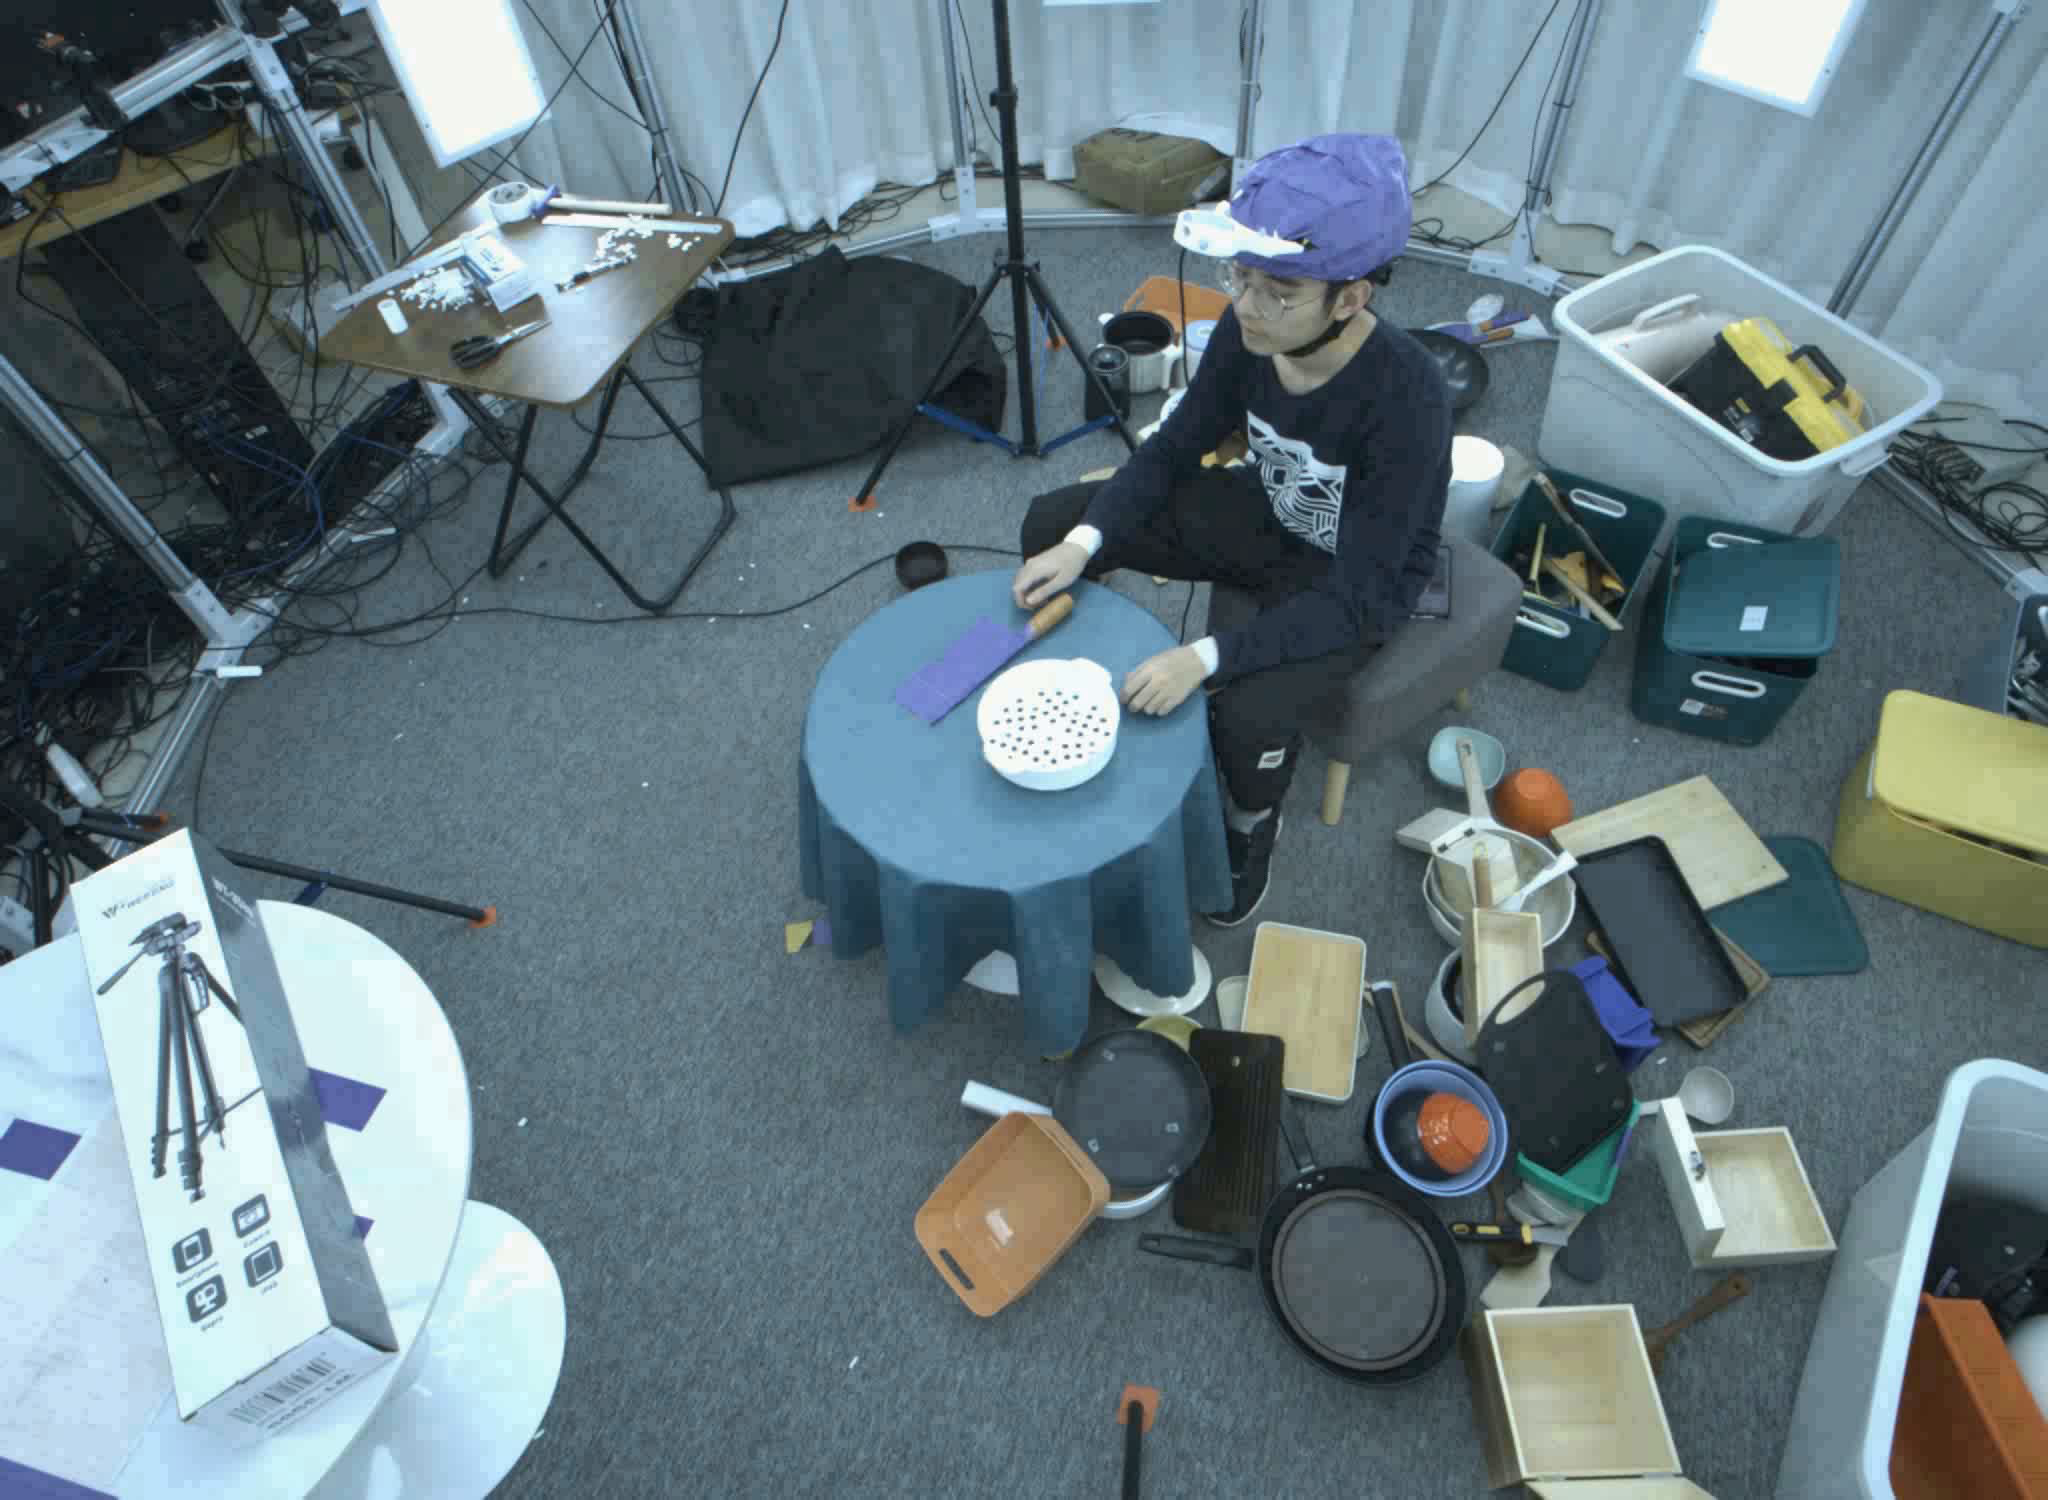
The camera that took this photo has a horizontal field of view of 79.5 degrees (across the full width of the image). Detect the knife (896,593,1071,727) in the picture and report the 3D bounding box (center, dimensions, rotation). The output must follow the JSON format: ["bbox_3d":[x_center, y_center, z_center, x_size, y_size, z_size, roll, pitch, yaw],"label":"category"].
[{"bbox_3d":[-0.063,-0.158,1.893,0.102,0.032,0.317,37,63,24],"label":"knife"}]

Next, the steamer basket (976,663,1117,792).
[{"bbox_3d":[0.032,-0.031,1.776,0.198,0.070,0.232,34,59,22],"label":"steamer basket"}]
